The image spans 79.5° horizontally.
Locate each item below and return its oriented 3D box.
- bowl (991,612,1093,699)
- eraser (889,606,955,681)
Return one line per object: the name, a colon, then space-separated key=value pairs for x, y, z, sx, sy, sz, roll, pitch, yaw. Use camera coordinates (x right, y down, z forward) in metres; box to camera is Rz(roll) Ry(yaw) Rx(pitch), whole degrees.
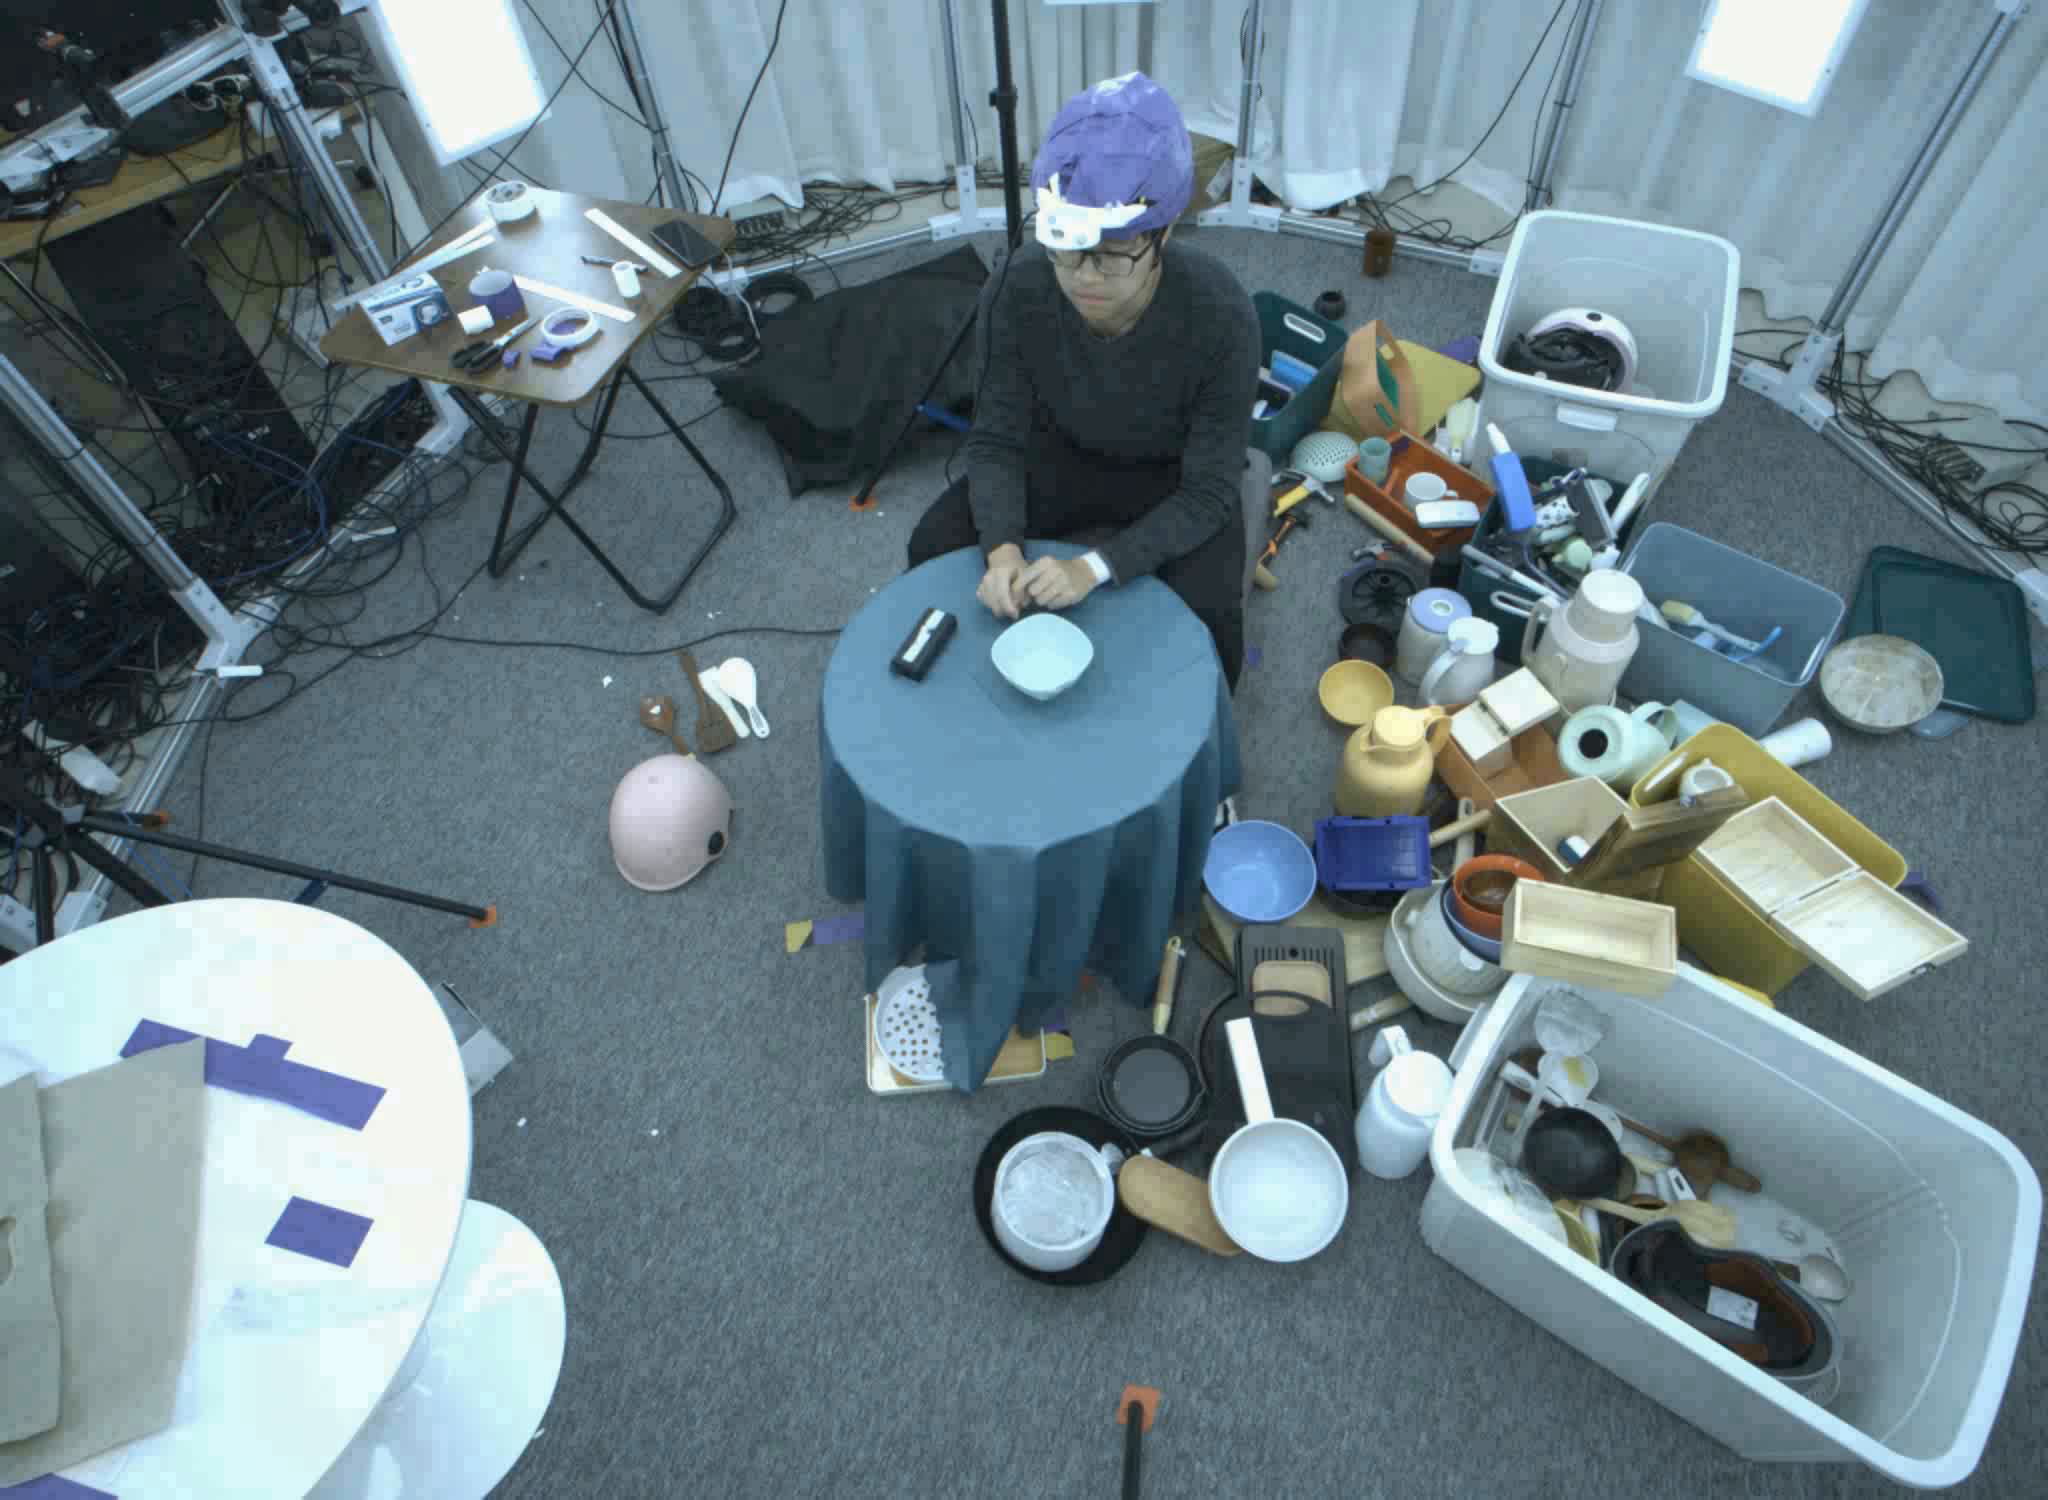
bowl: x=0.027 y=-0.132 z=1.846 sx=0.151 sy=0.059 sz=0.150 roll=0 pitch=56 yaw=0
eraser: x=-0.157 y=-0.165 z=1.892 sx=0.053 sy=0.031 sz=0.125 roll=20 pitch=58 yaw=13
